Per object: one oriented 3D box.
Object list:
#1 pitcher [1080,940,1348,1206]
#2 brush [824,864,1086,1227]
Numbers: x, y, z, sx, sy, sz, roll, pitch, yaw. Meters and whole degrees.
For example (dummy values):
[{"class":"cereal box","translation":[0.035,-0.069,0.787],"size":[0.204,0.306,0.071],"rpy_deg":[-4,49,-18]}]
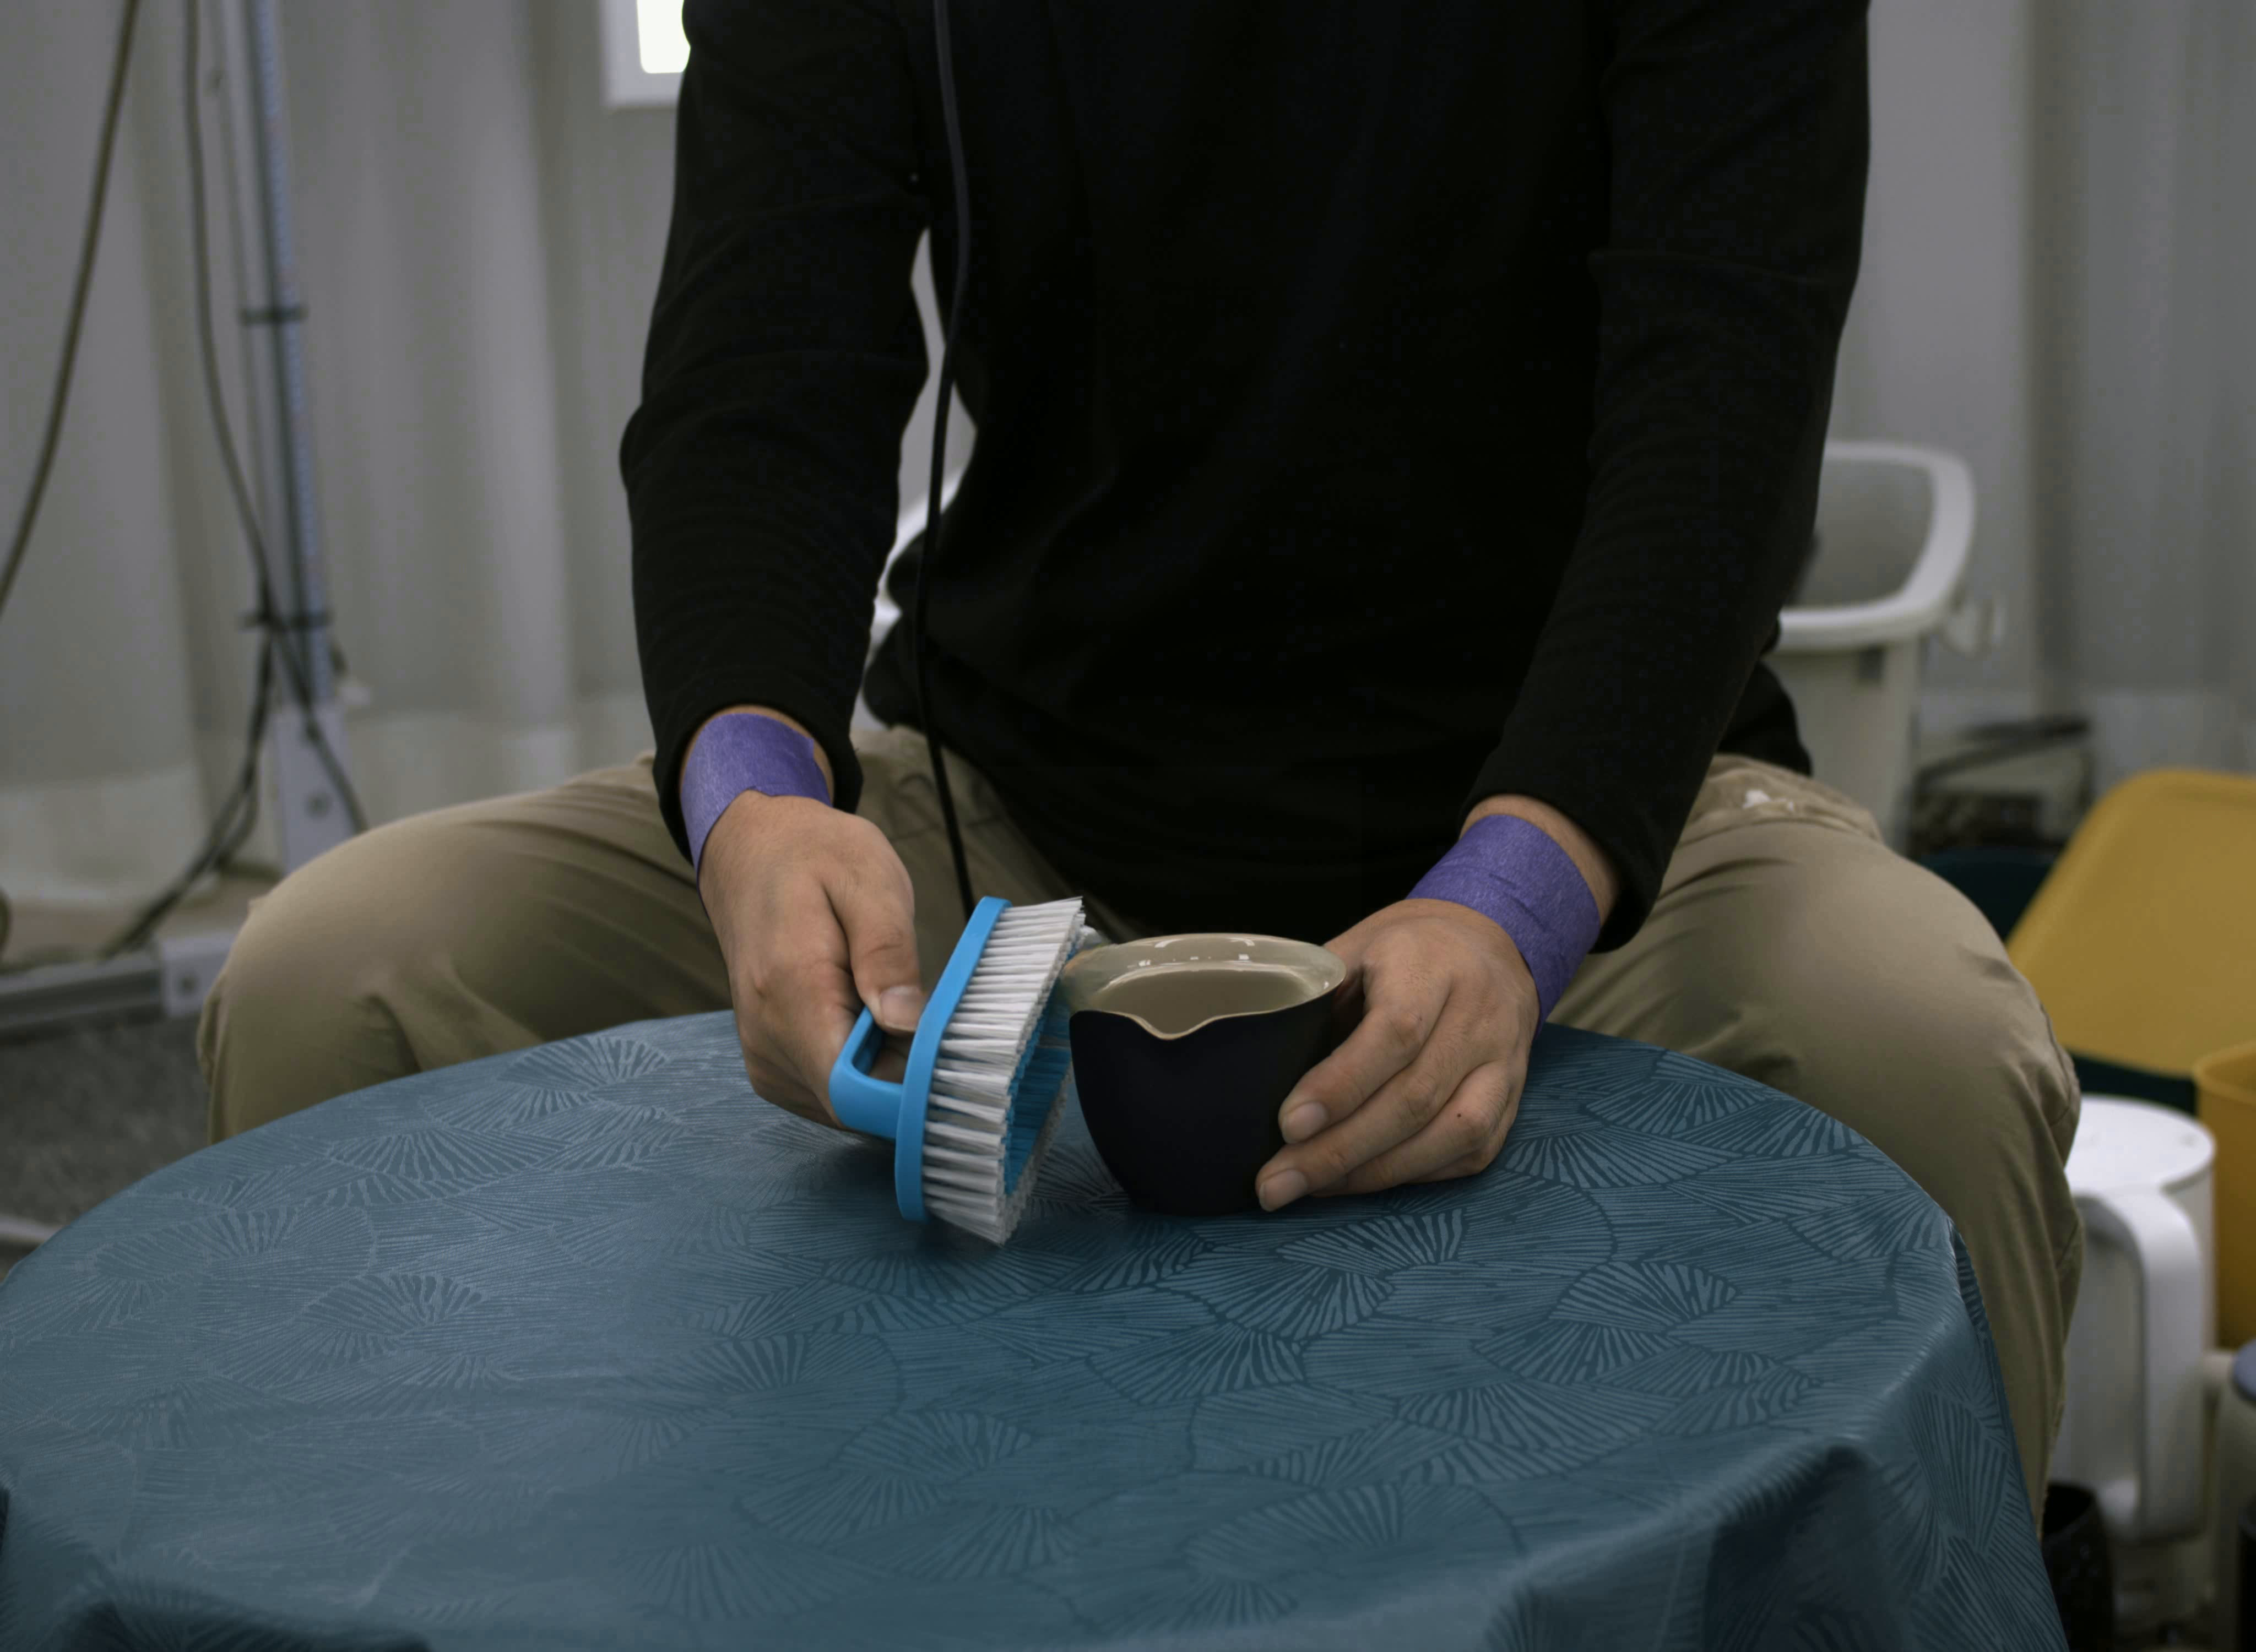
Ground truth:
[{"class":"pitcher","translation":[0.026,0.078,1.701],"size":[0.083,0.071,0.096],"rpy_deg":[3,17,16]},{"class":"brush","translation":[-0.057,0.067,1.708],"size":[0.064,0.083,0.143],"rpy_deg":[5,28,11]}]
